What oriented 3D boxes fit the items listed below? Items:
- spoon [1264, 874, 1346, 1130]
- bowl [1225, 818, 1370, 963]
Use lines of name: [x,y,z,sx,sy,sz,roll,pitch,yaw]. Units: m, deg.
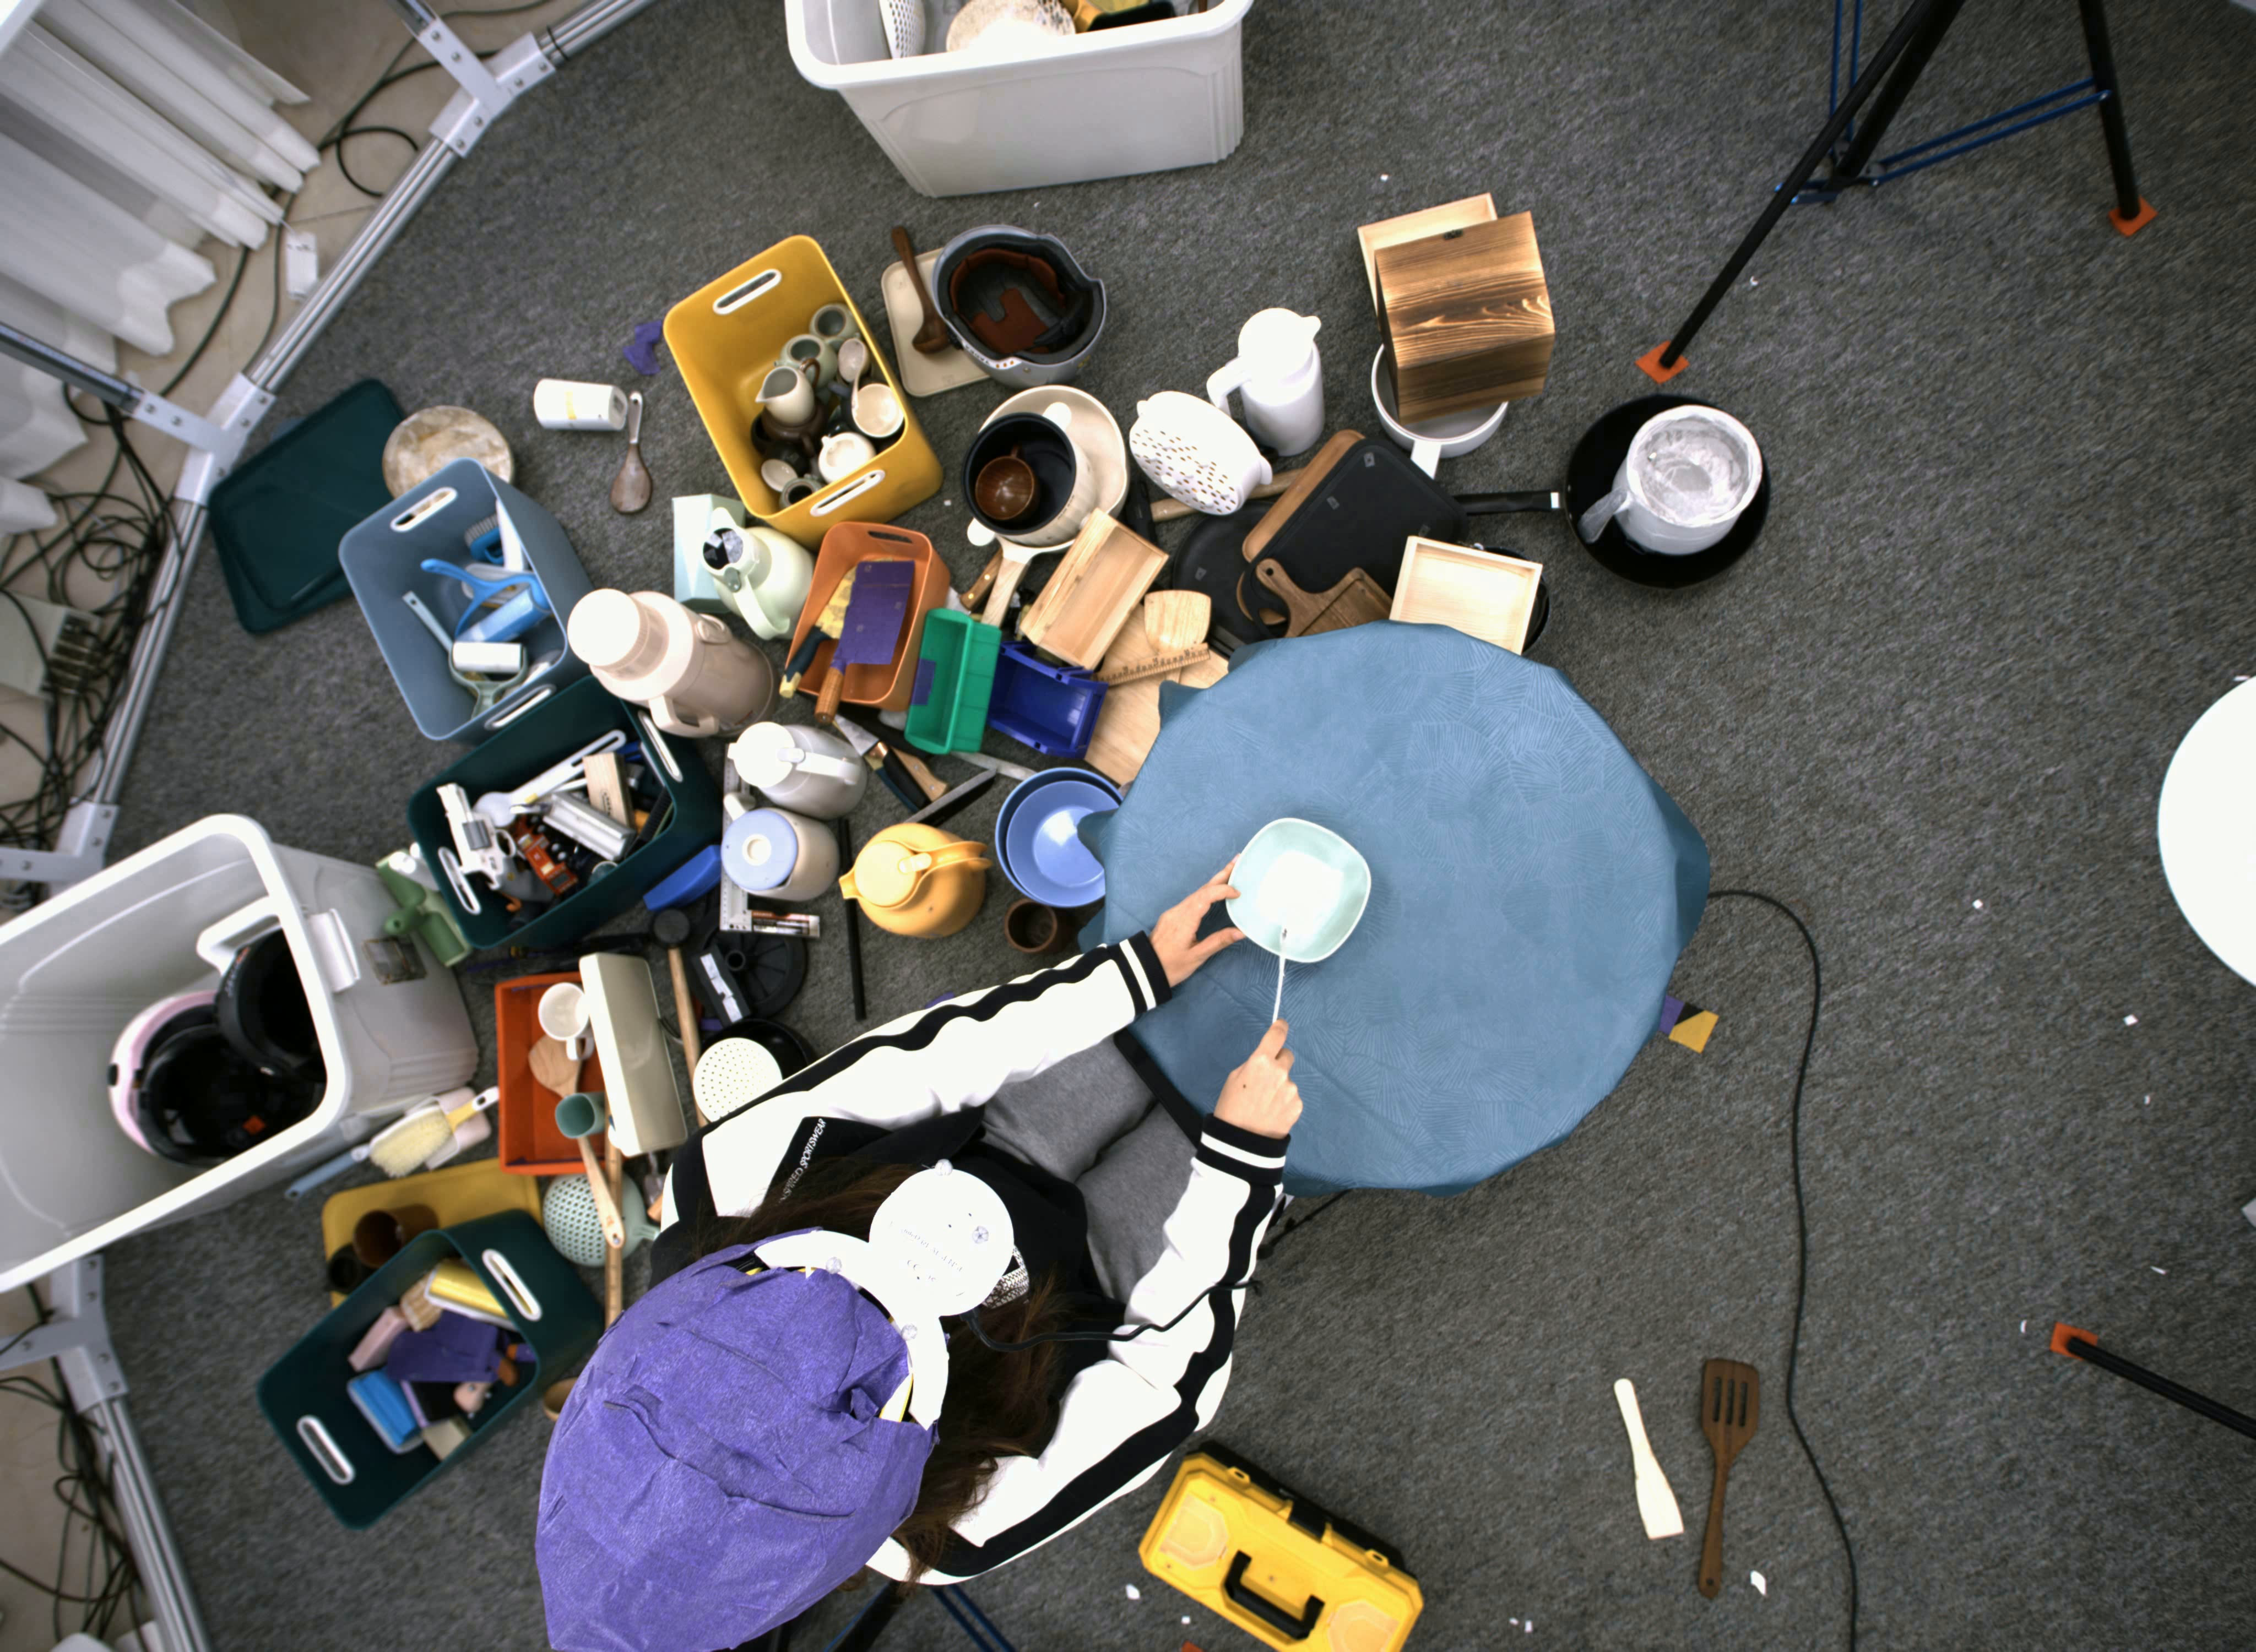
spoon: [0.175,0.167,1.357,0.059,0.103,0.271,6,60,6]
bowl: [0.178,0.068,1.451,0.152,0.058,0.151,-1,86,10]
